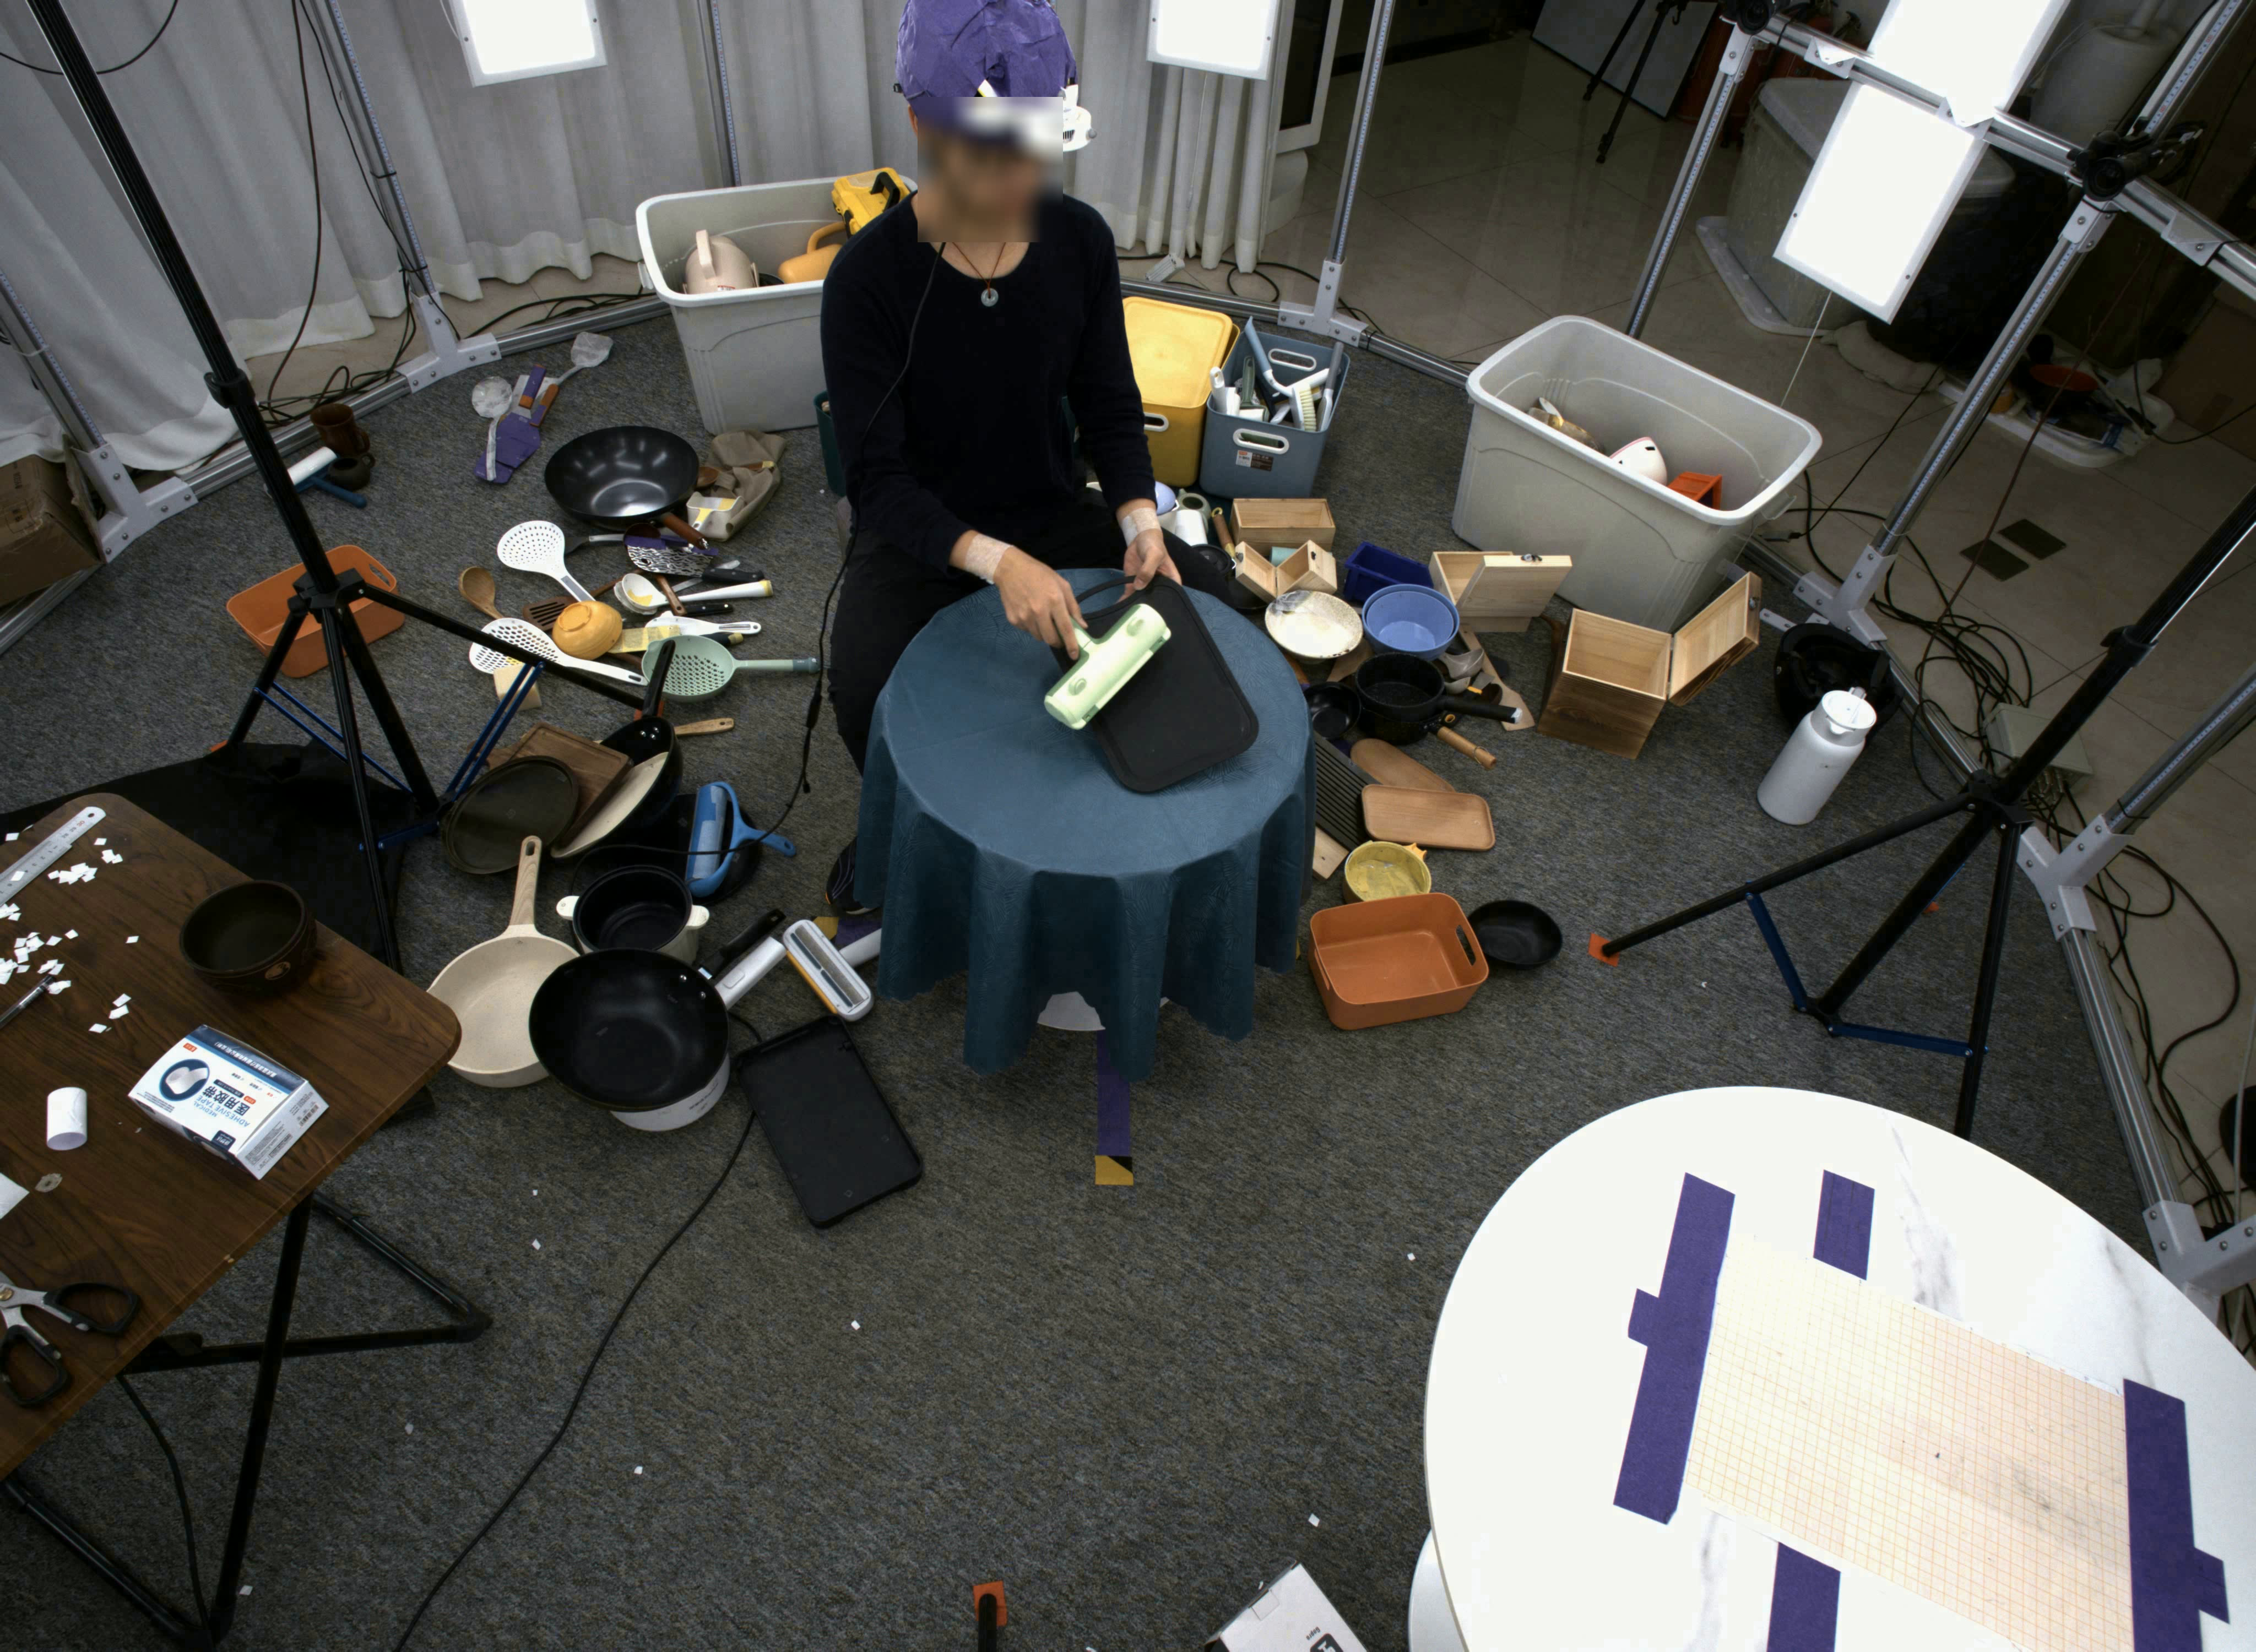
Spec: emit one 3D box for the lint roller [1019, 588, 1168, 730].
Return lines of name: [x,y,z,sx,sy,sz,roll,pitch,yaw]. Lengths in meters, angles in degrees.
lint roller: [-0.070,-0.257,1.713,0.182,0.082,0.200,44,74,-6]

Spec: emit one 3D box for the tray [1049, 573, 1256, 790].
tray: [0.027,-0.210,1.774,0.211,0.009,0.331,-22,68,-9]
